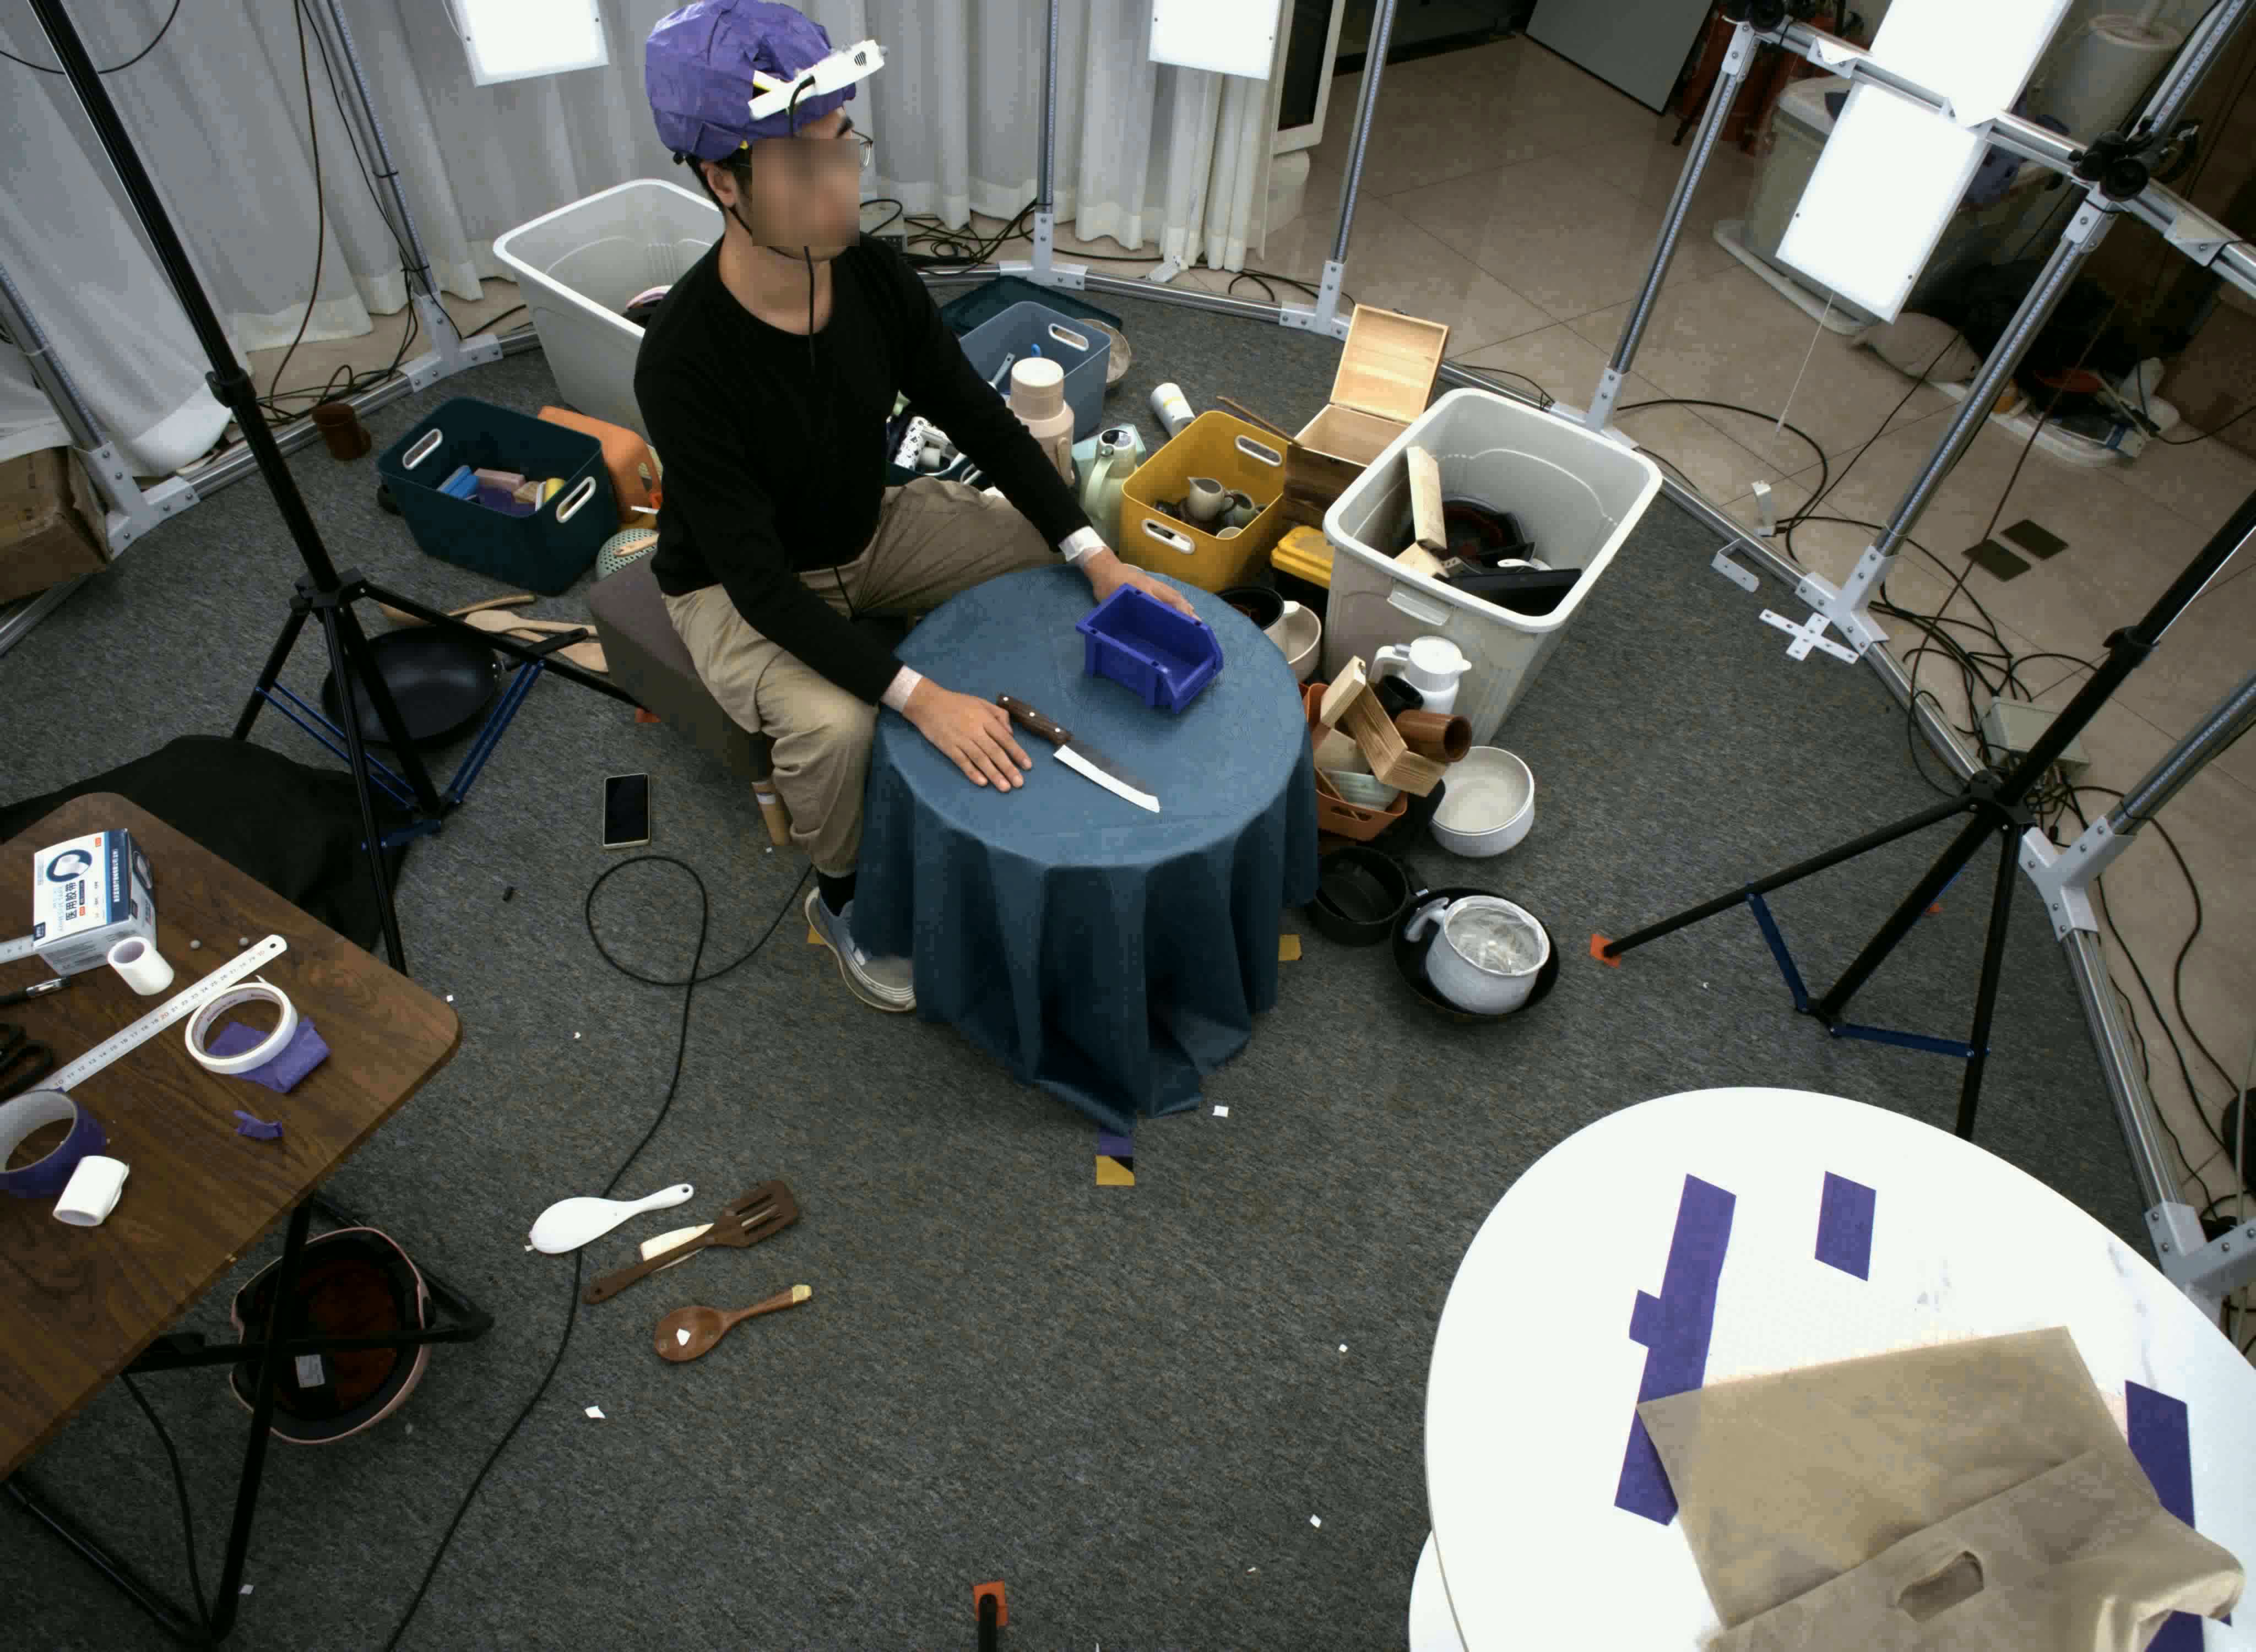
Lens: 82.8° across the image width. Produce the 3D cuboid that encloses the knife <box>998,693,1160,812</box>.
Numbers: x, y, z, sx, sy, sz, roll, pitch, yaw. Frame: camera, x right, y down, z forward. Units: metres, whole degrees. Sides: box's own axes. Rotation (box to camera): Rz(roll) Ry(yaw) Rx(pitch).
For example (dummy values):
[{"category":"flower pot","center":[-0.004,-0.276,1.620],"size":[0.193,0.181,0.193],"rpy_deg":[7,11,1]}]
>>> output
[{"category":"knife","center":[-0.069,-0.100,1.743],"size":[0.292,0.019,0.051],"rpy_deg":[35,61,21]}]

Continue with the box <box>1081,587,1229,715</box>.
[{"category":"box","center":[0.041,-0.248,1.835],"size":[0.181,0.080,0.126],"rpy_deg":[31,53,24]}]
